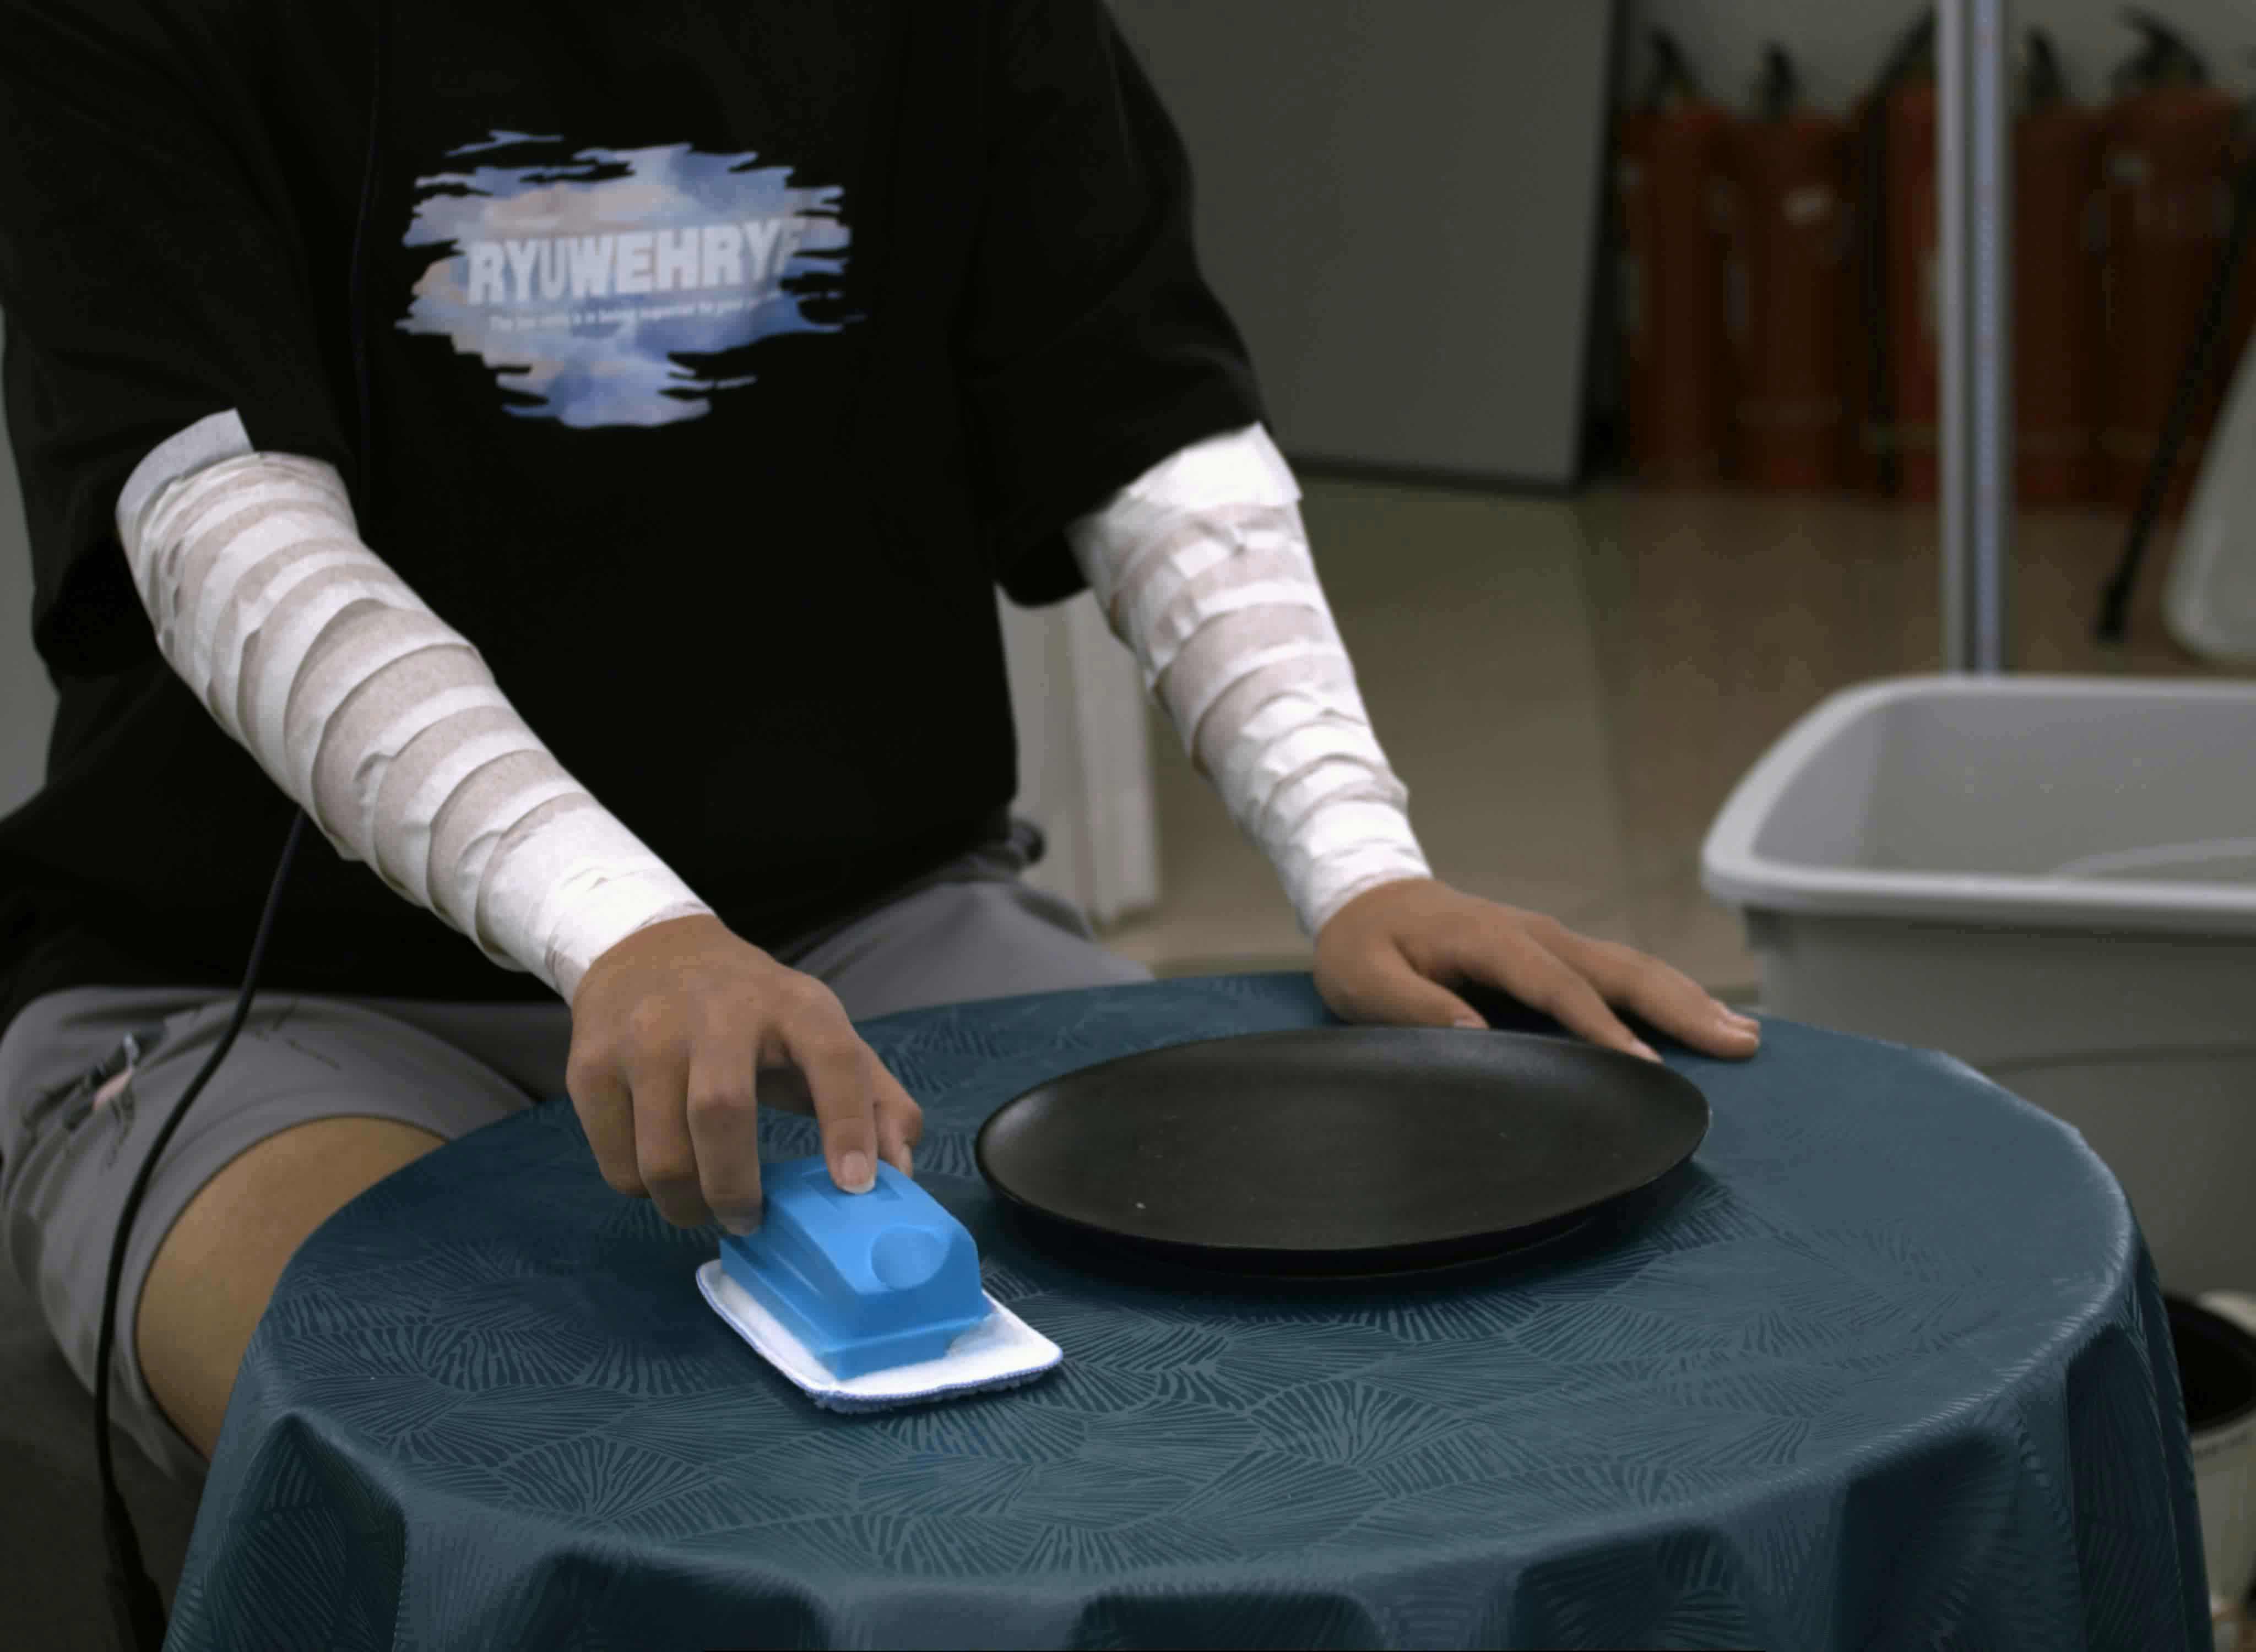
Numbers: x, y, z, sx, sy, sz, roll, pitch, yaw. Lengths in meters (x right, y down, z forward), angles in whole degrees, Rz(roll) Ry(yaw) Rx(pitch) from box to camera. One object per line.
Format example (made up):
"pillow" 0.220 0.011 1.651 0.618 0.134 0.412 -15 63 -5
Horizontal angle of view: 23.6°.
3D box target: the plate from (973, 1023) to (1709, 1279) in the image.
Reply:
"plate" 0.069 0.108 1.756 0.241 0.024 0.245 -4 14 0

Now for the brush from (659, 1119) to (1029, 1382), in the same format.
"brush" -0.086 0.126 1.642 0.082 0.056 0.145 -5 16 -22
